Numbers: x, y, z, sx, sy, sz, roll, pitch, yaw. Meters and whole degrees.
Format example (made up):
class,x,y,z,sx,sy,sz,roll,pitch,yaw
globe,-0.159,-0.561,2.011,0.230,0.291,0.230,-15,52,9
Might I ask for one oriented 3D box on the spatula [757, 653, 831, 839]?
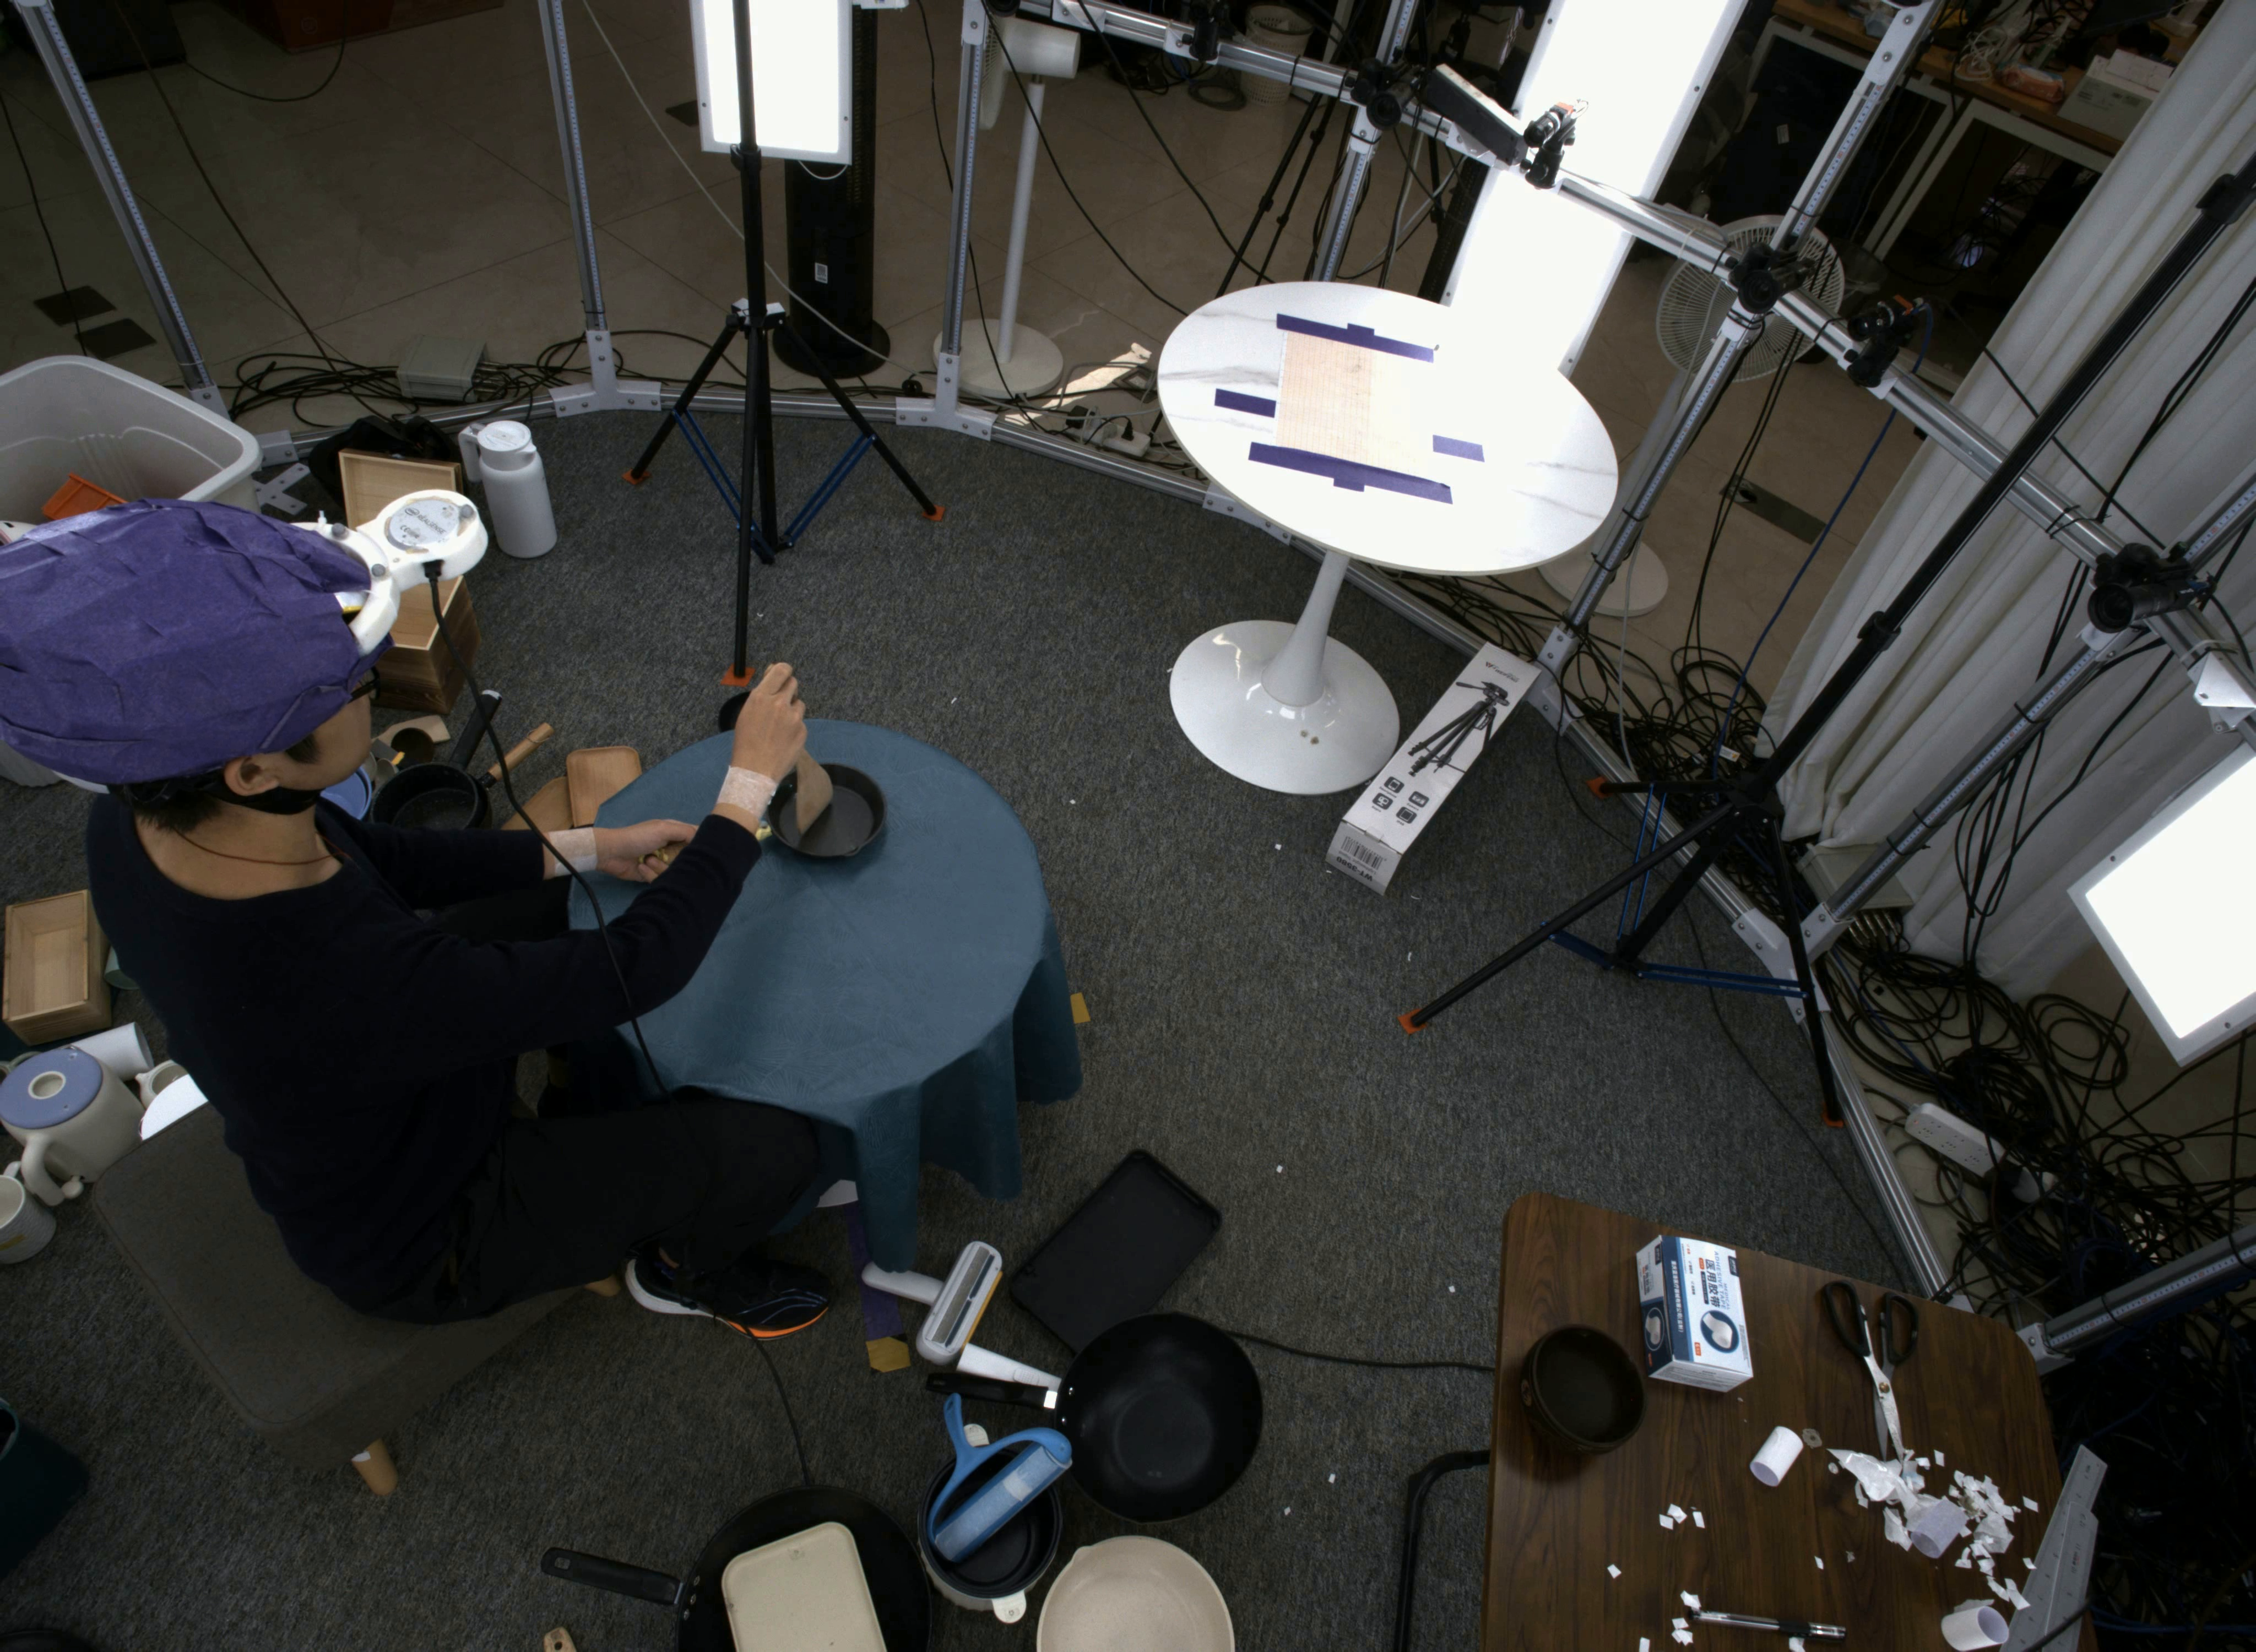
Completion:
class,x,y,z,sx,sy,sz,roll,pitch,yaw
spatula,-0.411,-0.096,1.583,0.016,0.336,0.079,20,59,13

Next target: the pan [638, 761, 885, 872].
class,x,y,z,sx,sy,sz,roll,pitch,yaw
pan,-0.470,0.004,1.666,0.326,0.050,0.165,-18,60,-28
